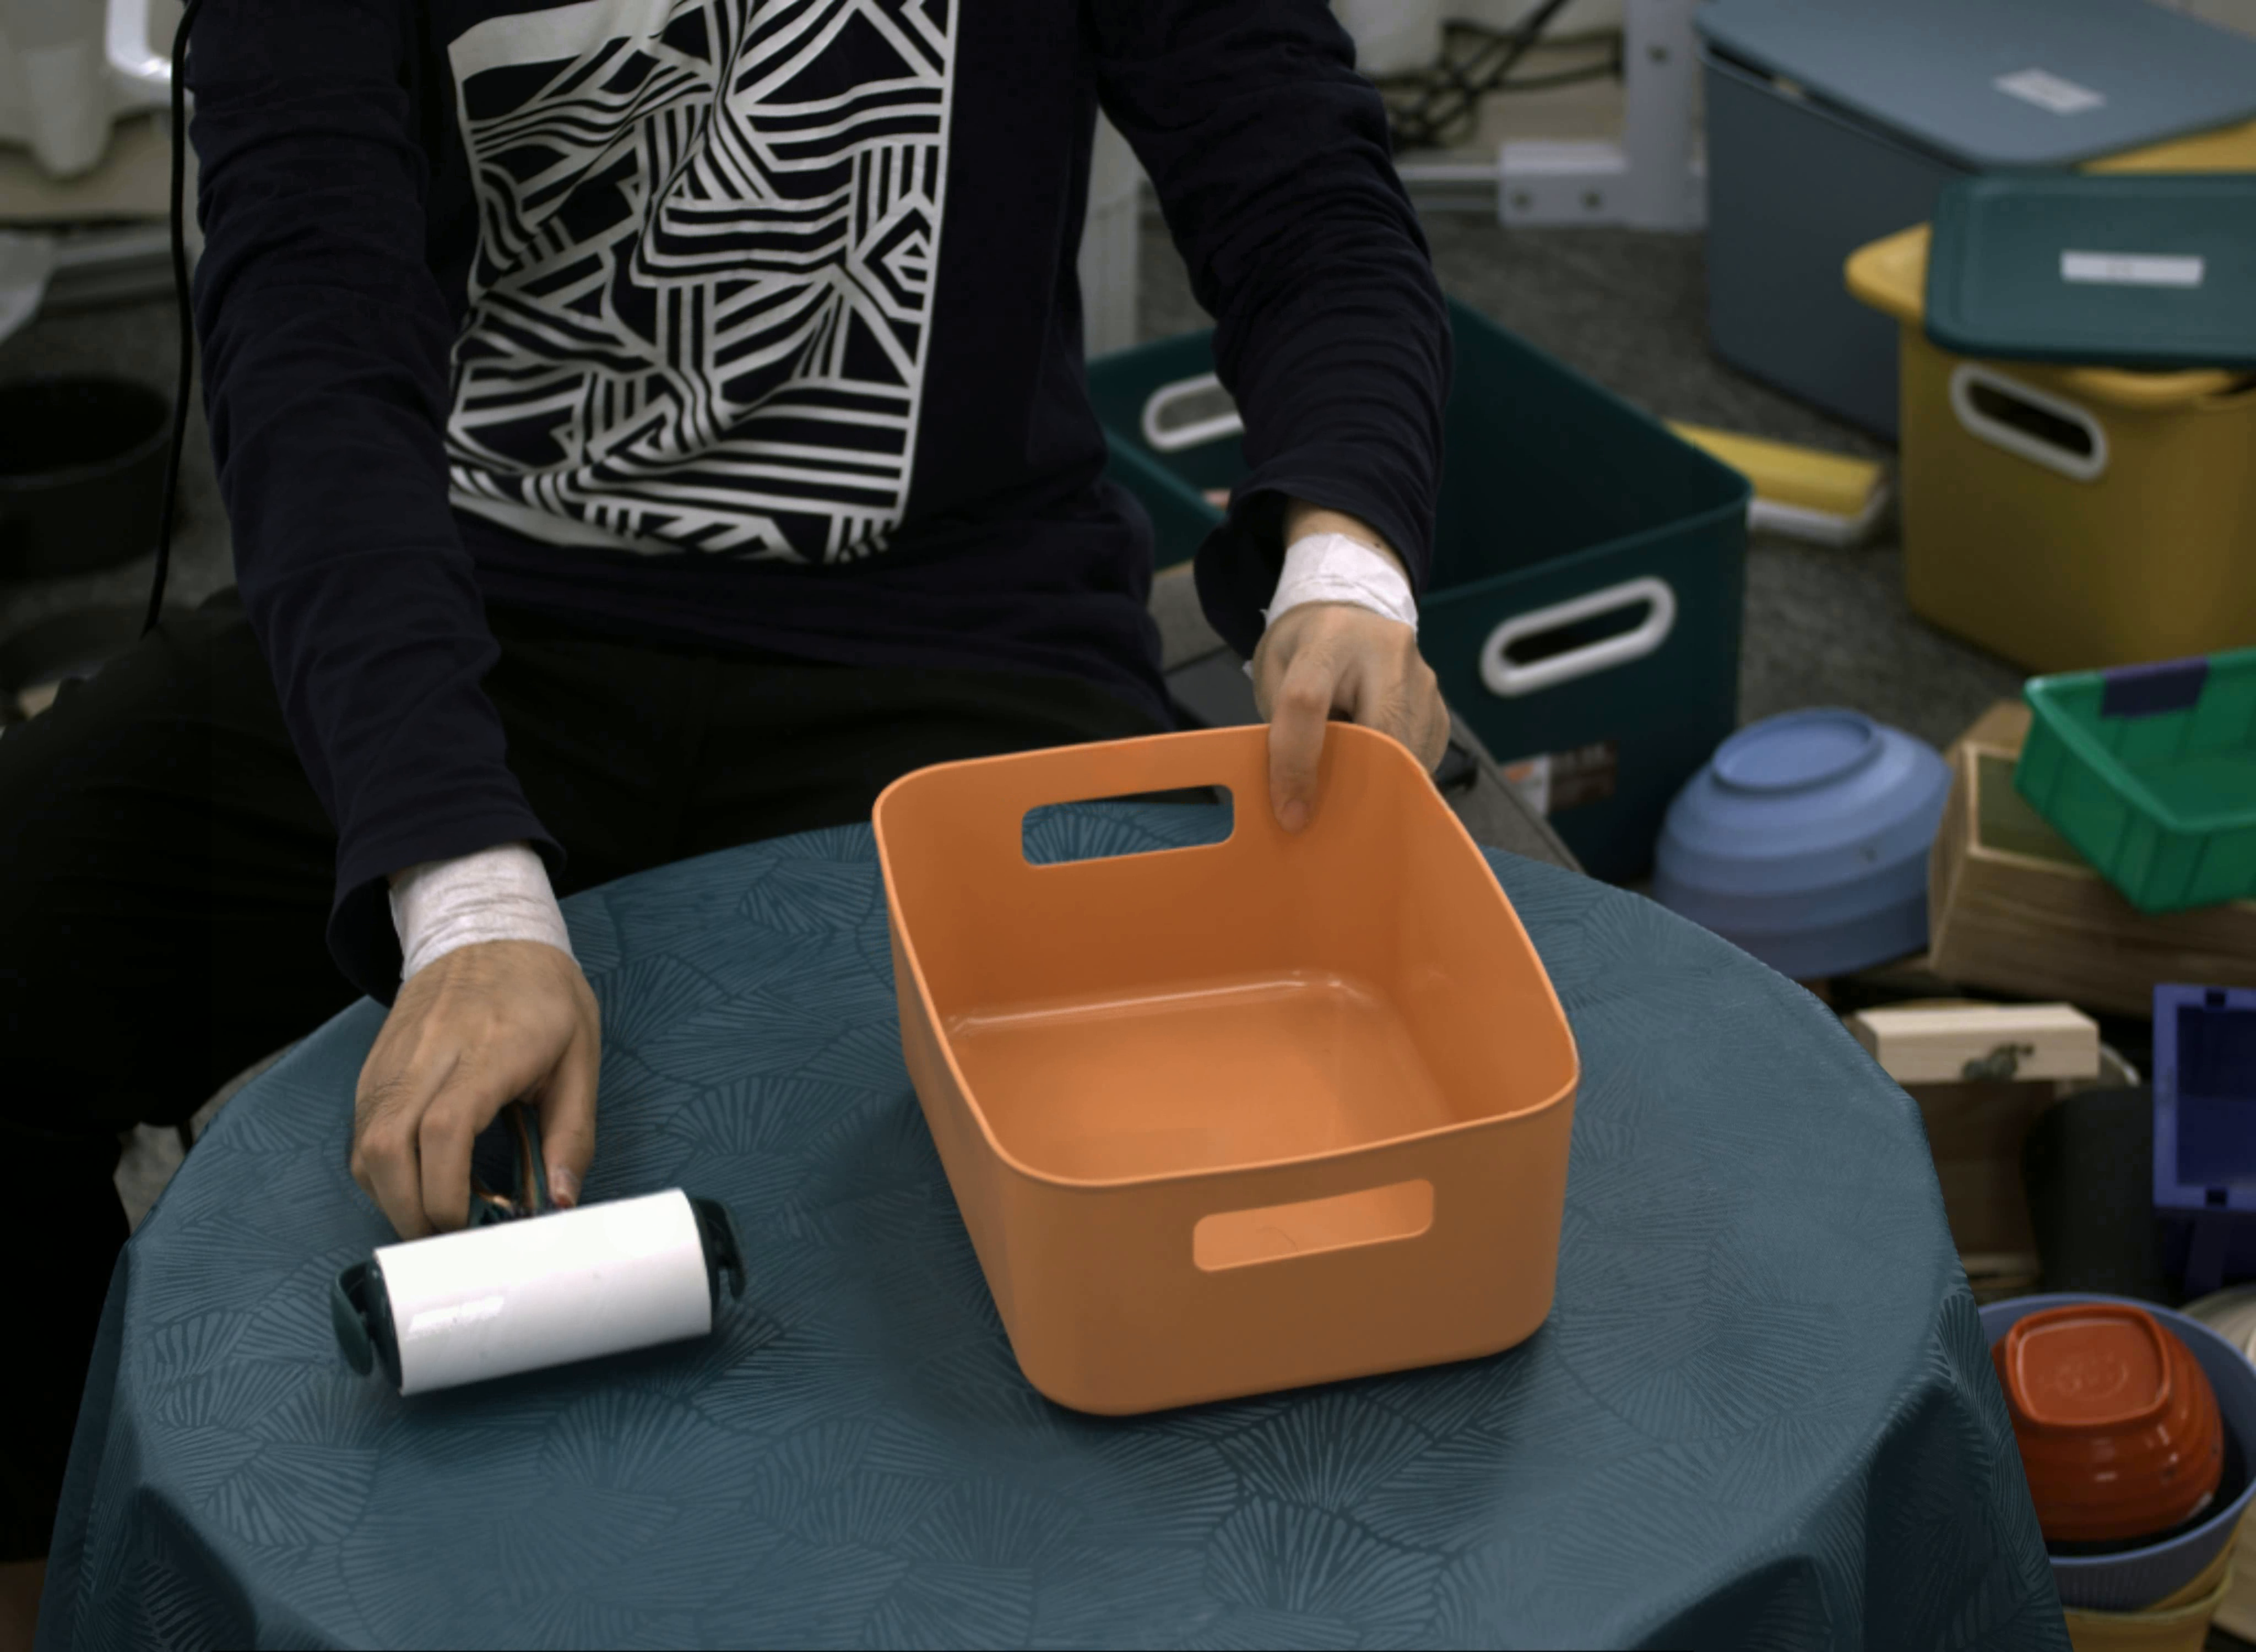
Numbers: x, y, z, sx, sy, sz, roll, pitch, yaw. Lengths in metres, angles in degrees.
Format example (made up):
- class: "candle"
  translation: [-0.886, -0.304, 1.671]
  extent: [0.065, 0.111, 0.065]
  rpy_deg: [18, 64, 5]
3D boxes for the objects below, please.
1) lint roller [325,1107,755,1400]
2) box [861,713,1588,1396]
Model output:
- class: "lint roller"
  translation: [-0.204, 0.119, 1.825]
  extent: [0.134, 0.048, 0.182]
  rpy_deg: [-10, 29, -14]
- class: "box"
  translation: [0.026, 0.074, 1.827]
  extent: [0.199, 0.101, 0.276]
  rpy_deg: [-7, 28, -12]
